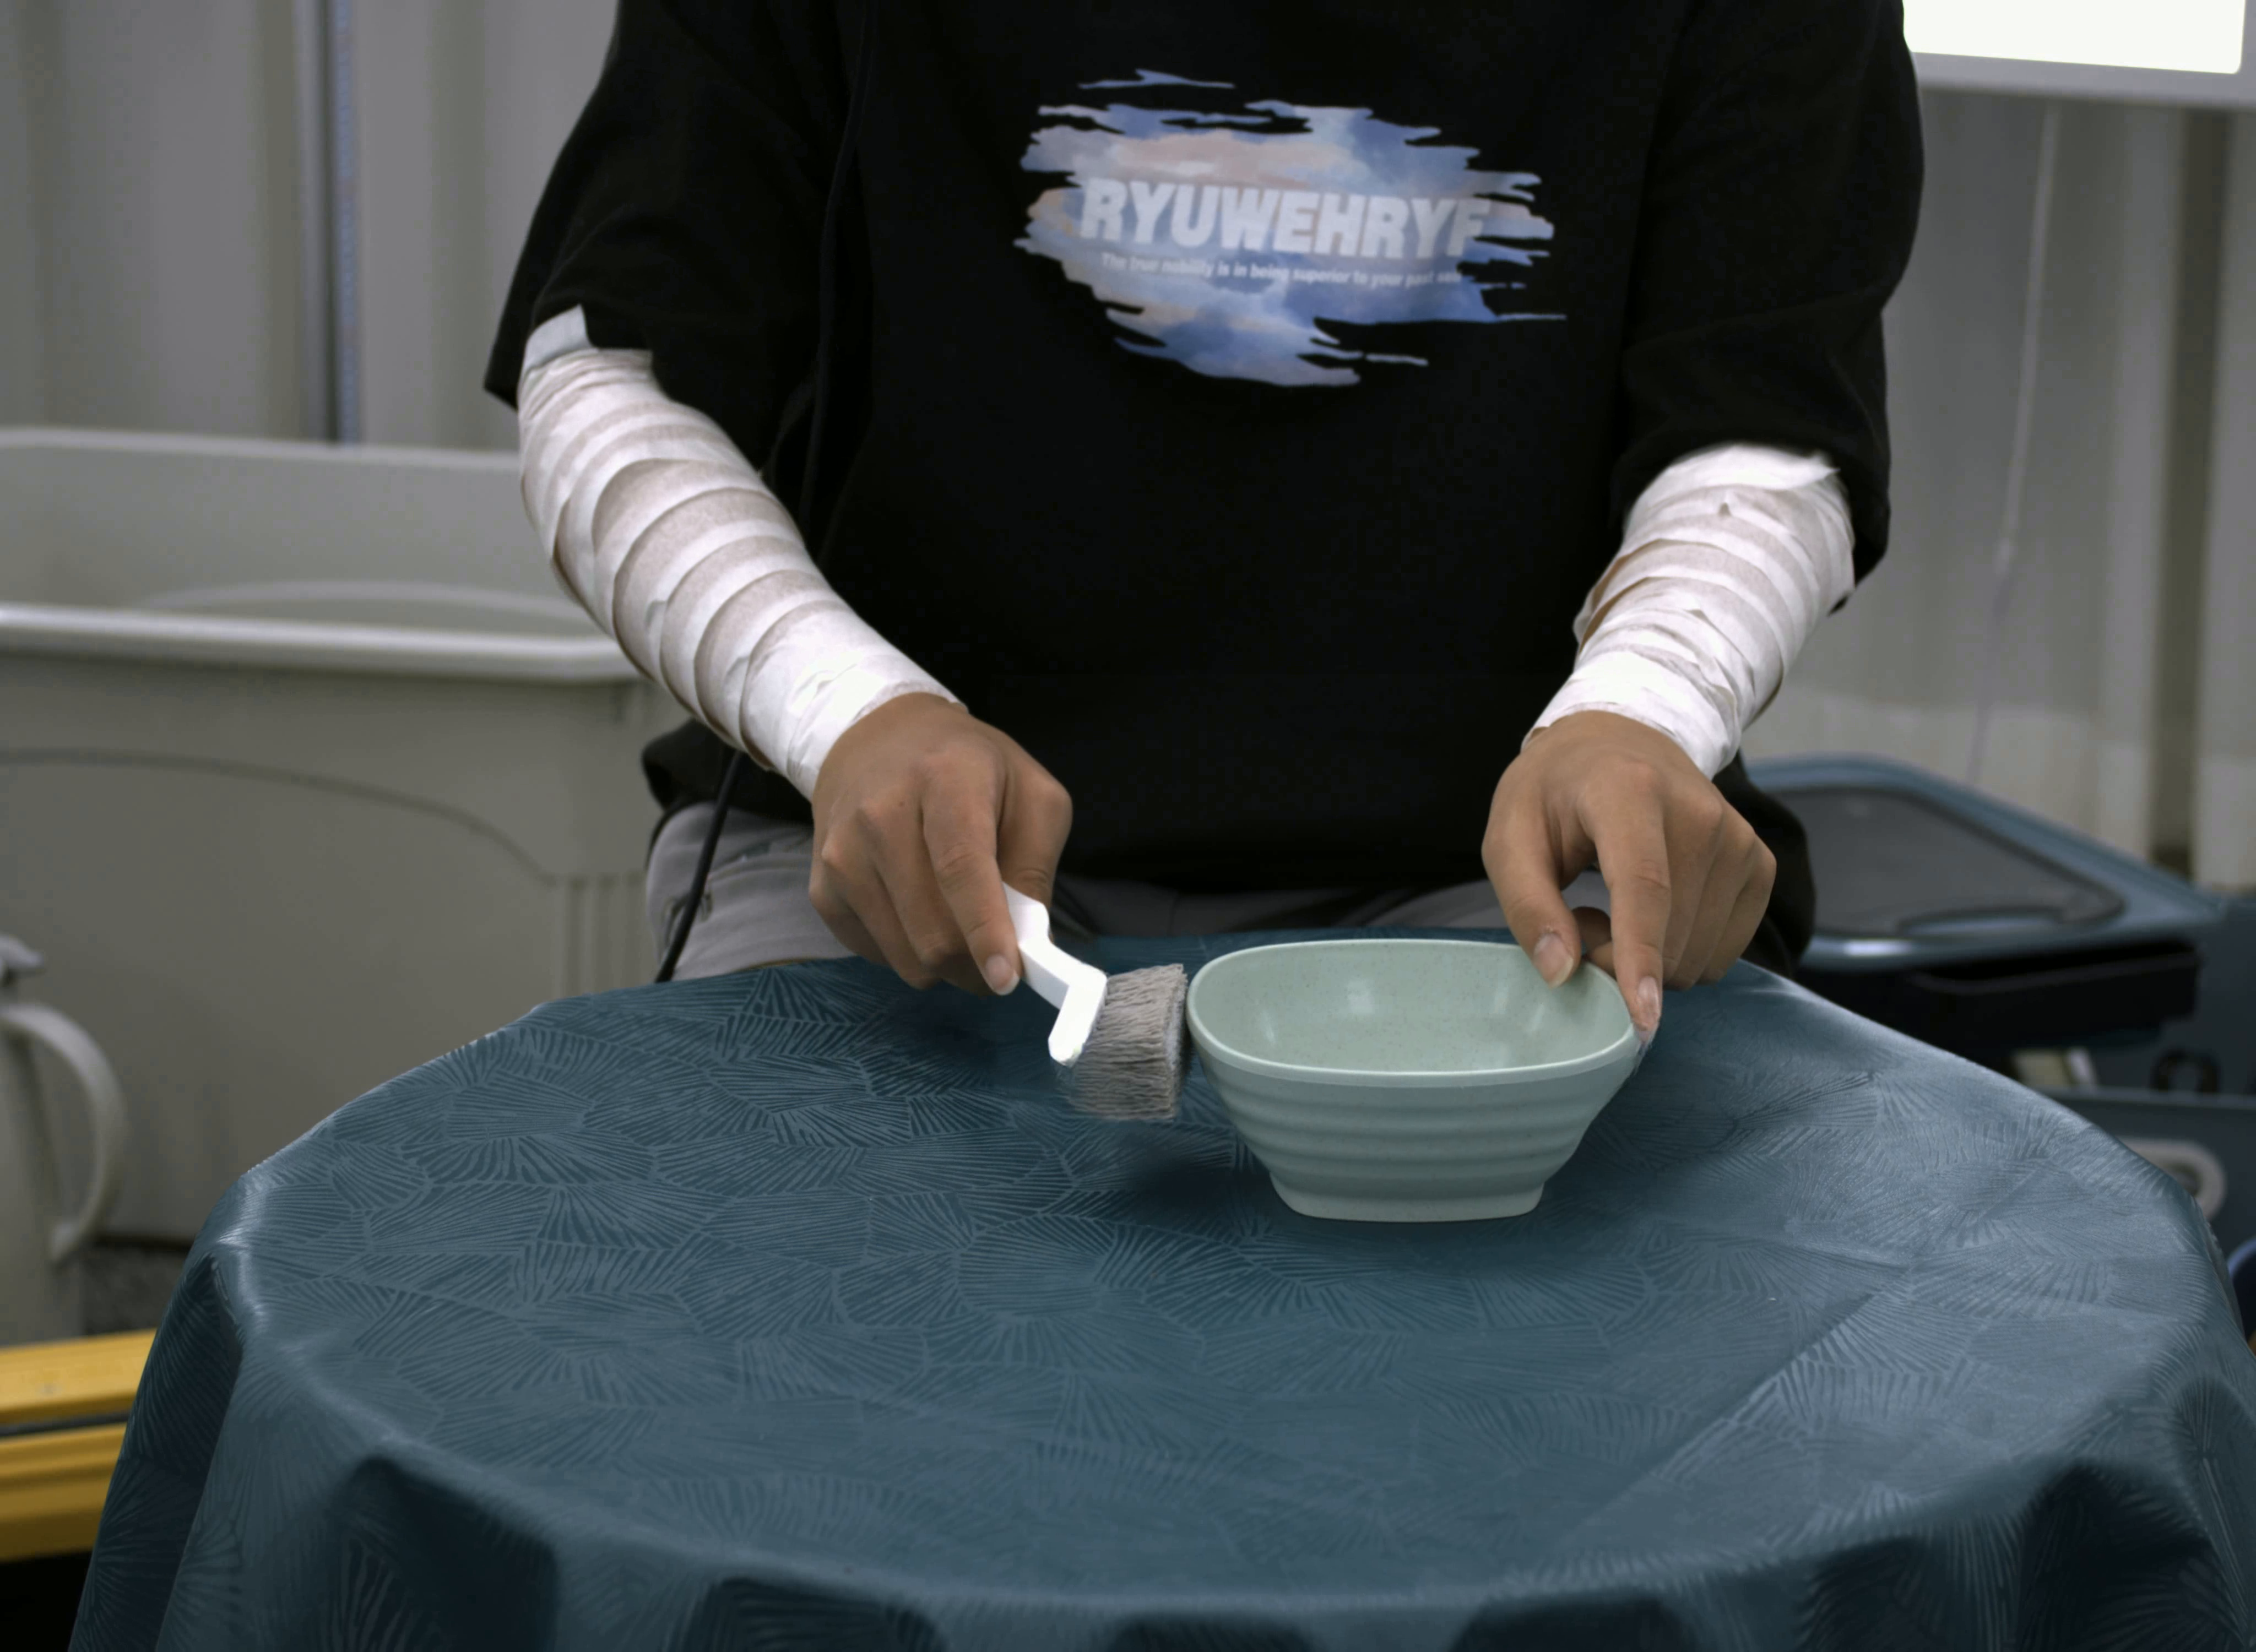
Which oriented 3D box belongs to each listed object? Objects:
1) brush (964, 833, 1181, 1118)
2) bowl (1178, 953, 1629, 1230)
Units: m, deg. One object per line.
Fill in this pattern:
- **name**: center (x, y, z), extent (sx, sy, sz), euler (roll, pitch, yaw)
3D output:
- **brush**: center (-0.018, 0.042, 1.697), extent (0.050, 0.035, 0.241), euler (-7, 17, -7)
- **bowl**: center (0.084, 0.085, 1.631), extent (0.151, 0.059, 0.151), euler (1, 14, 0)
